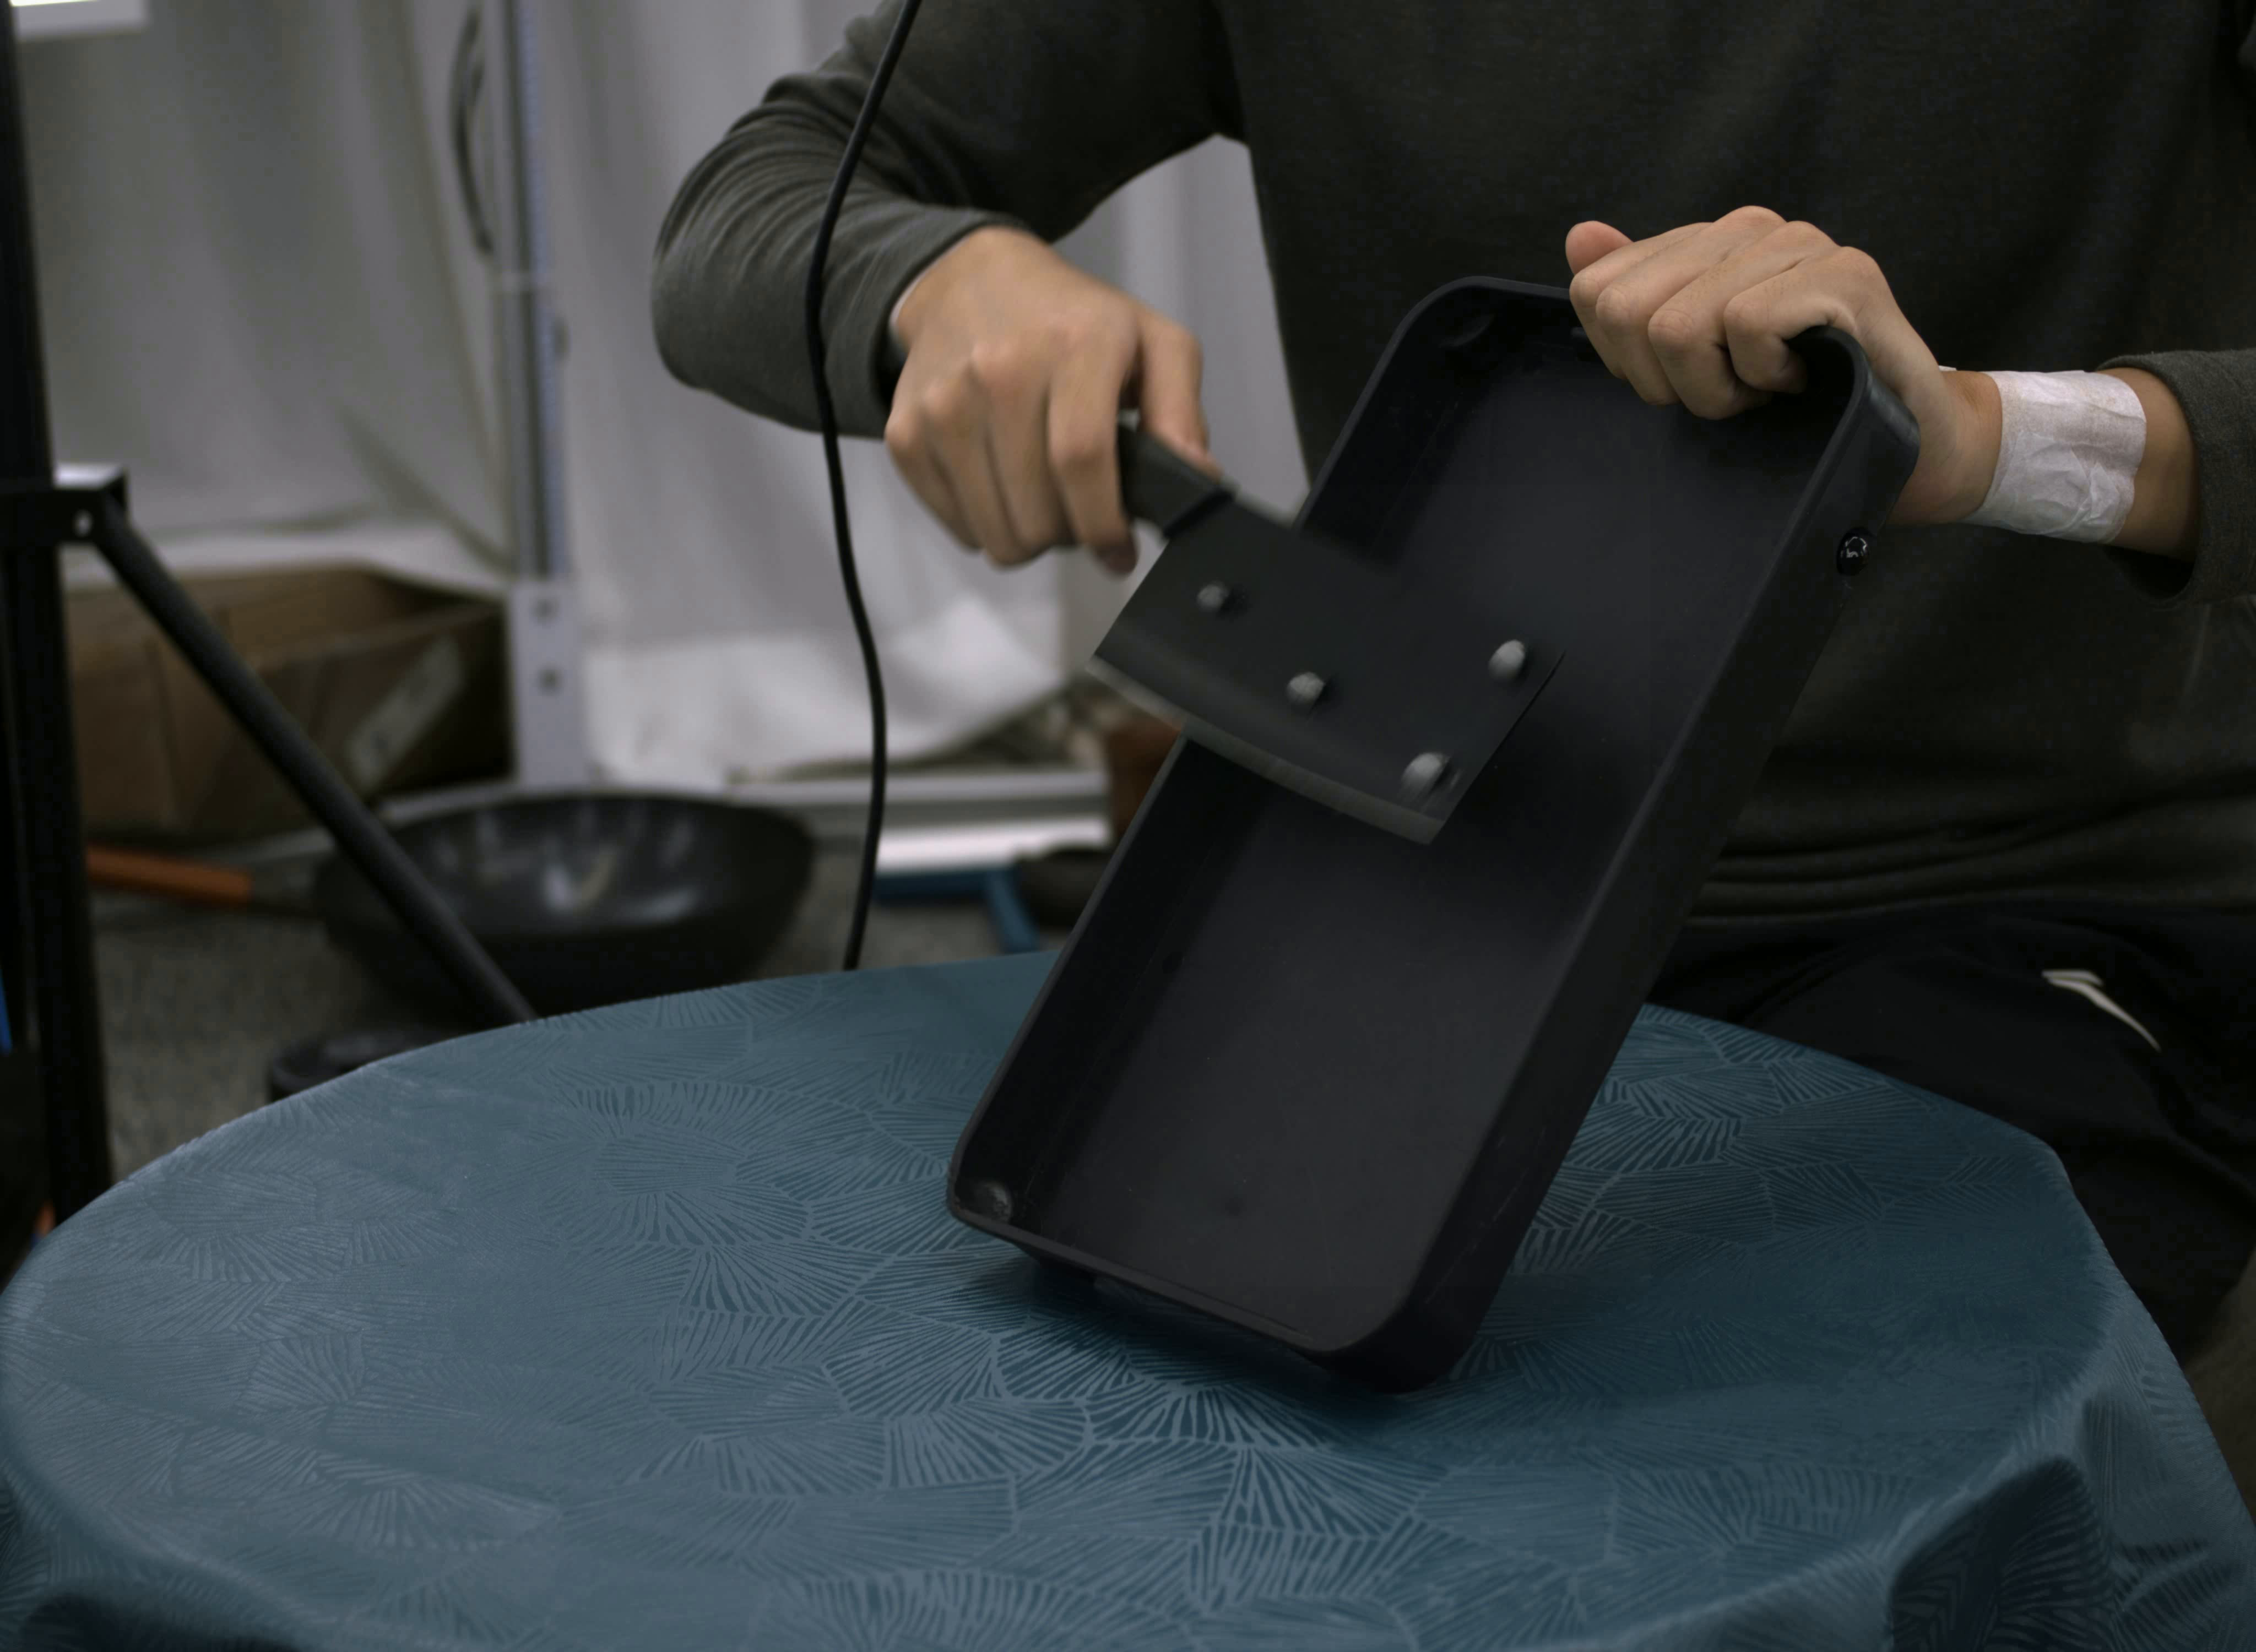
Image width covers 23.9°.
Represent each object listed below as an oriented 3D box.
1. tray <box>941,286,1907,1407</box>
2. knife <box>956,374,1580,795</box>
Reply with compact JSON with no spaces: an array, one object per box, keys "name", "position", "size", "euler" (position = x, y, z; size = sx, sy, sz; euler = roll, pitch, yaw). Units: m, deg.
[{"name":"tray","position":[0.082,-0.001,1.473],"size":[0.188,0.318,0.036],"euler":[13,-19,47]},{"name":"knife","position":[0.029,-0.076,1.556],"size":[0.020,0.081,0.309],"euler":[39,-1,-36]}]
